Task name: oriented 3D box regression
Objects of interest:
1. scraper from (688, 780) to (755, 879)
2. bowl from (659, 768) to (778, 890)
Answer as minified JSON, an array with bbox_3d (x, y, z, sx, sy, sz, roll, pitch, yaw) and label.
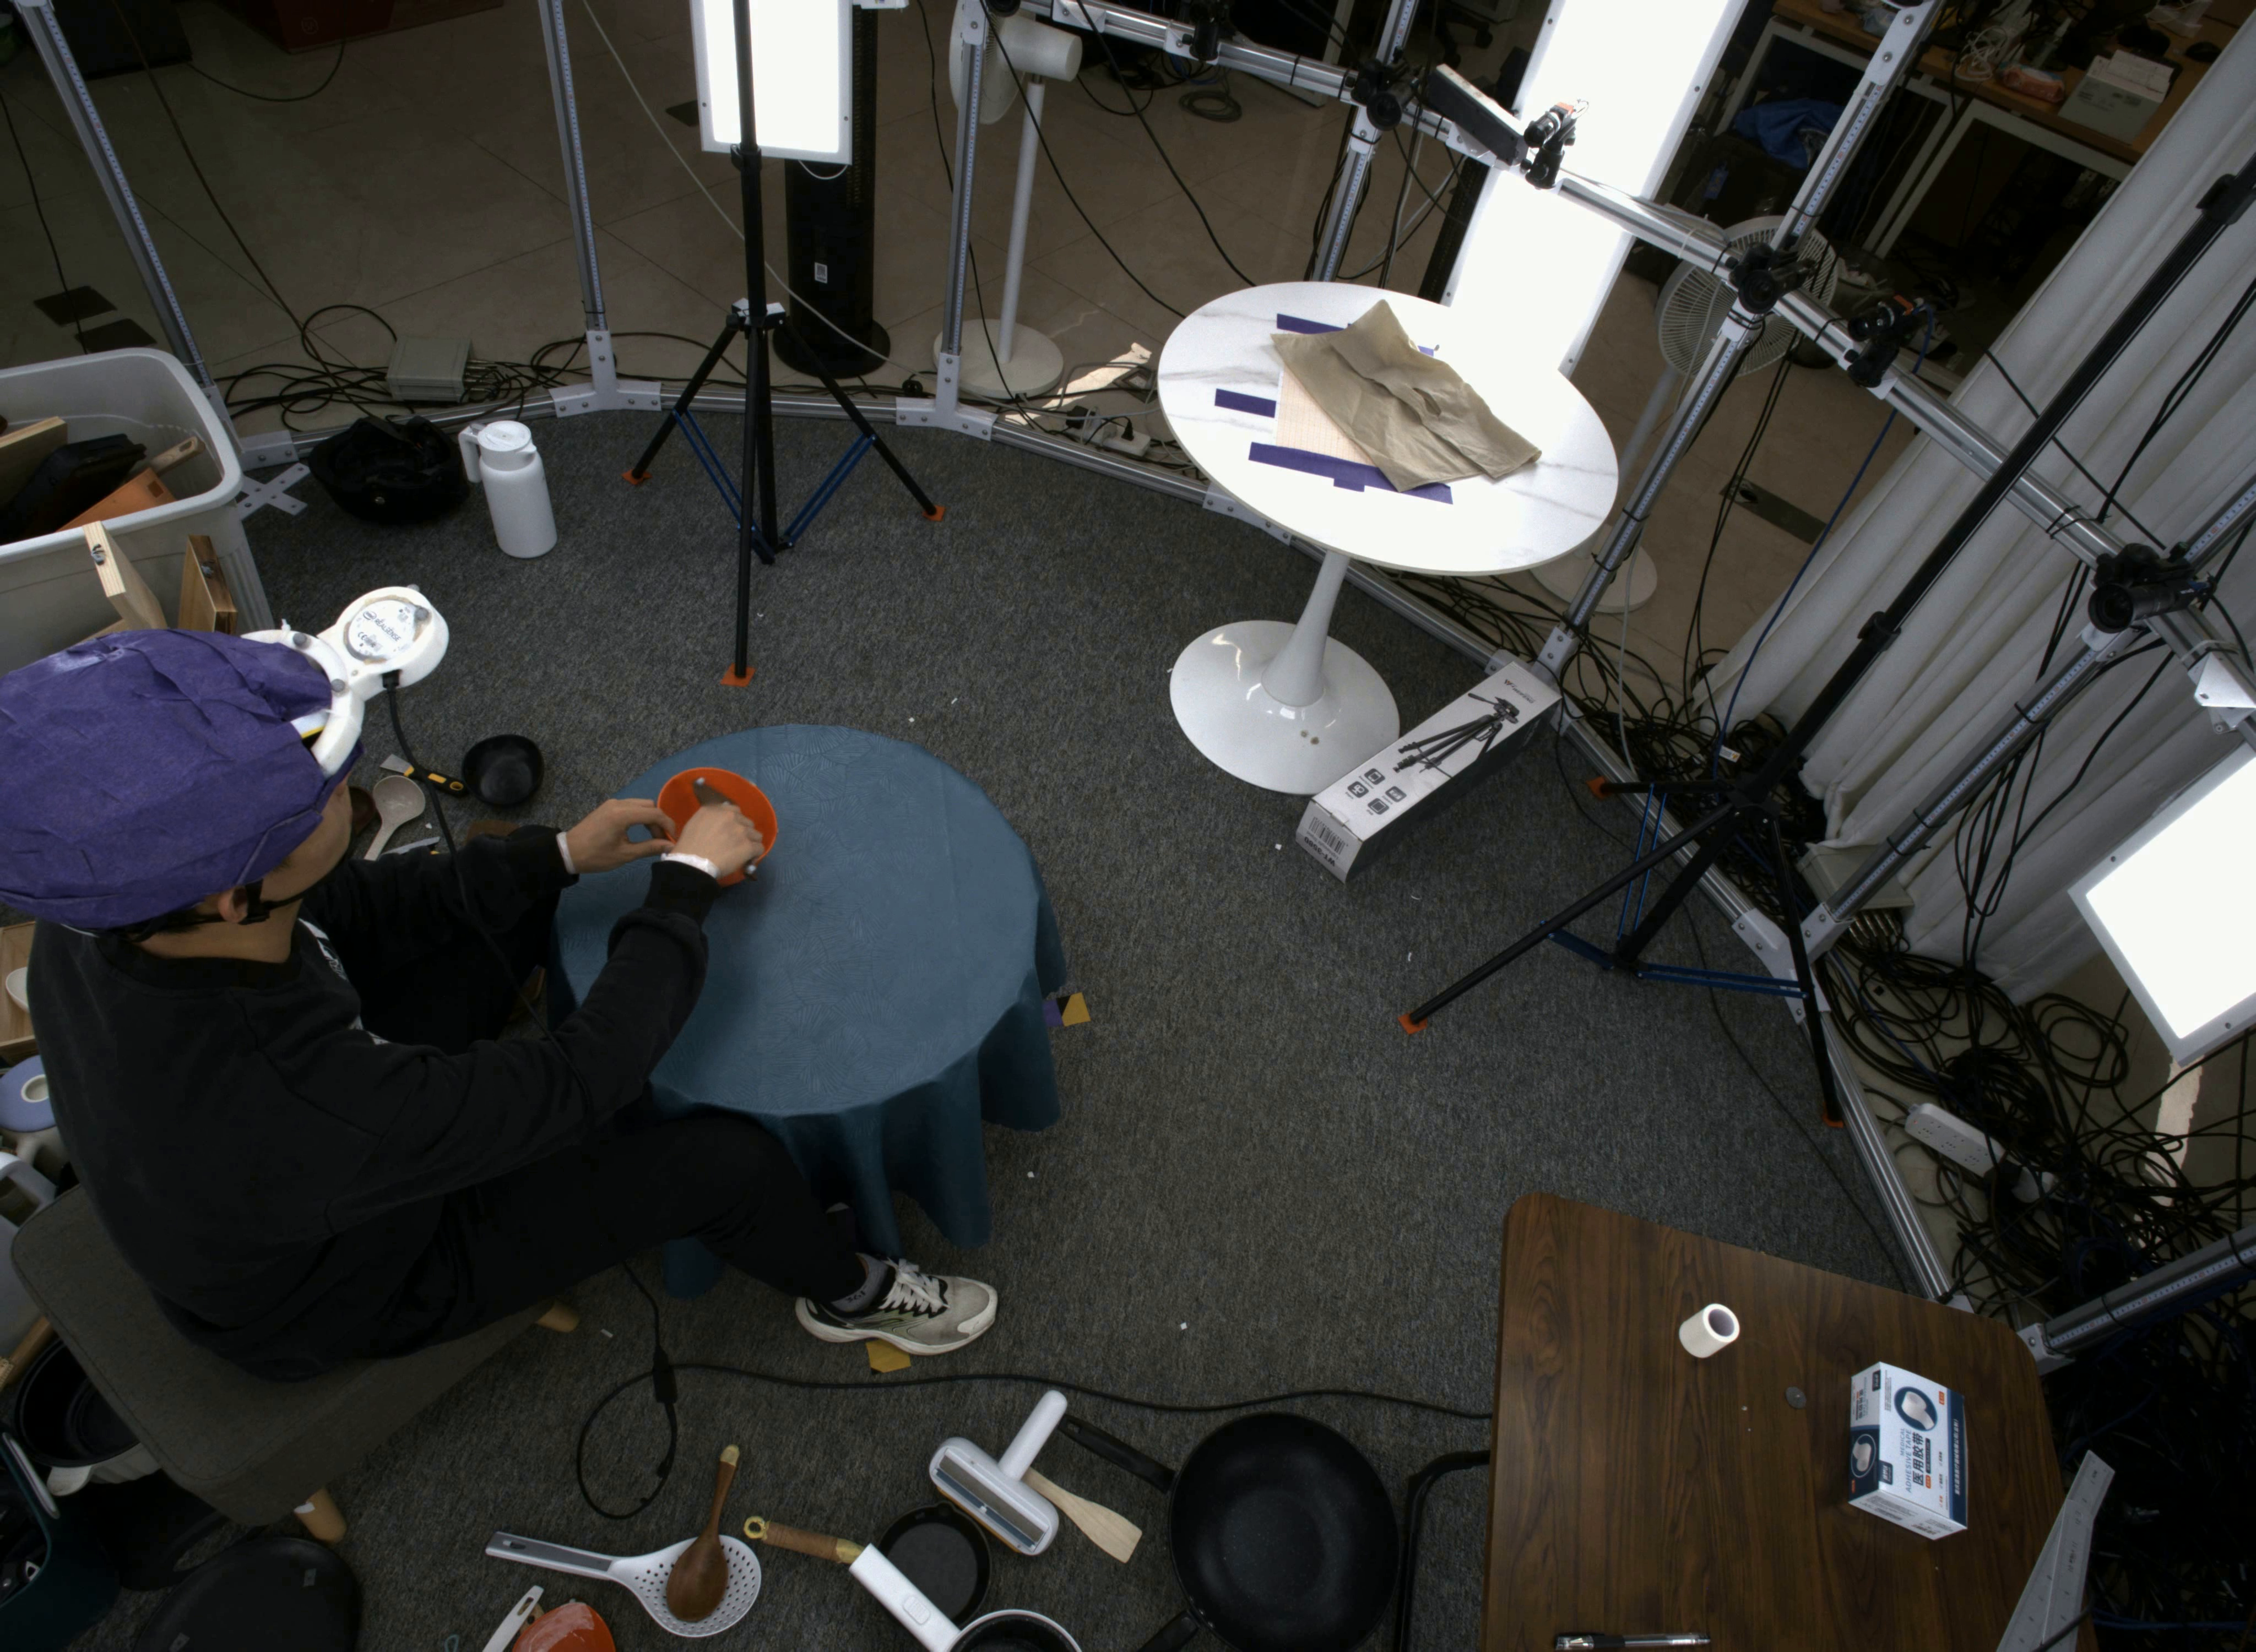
[{"bbox_3d":[-0.476,0.006,1.534,0.011,0.078,0.203,-48,40,3],"label":"scraper"},{"bbox_3d":[-0.518,0.013,1.621,0.149,0.106,0.145,16,43,-14],"label":"bowl"}]
